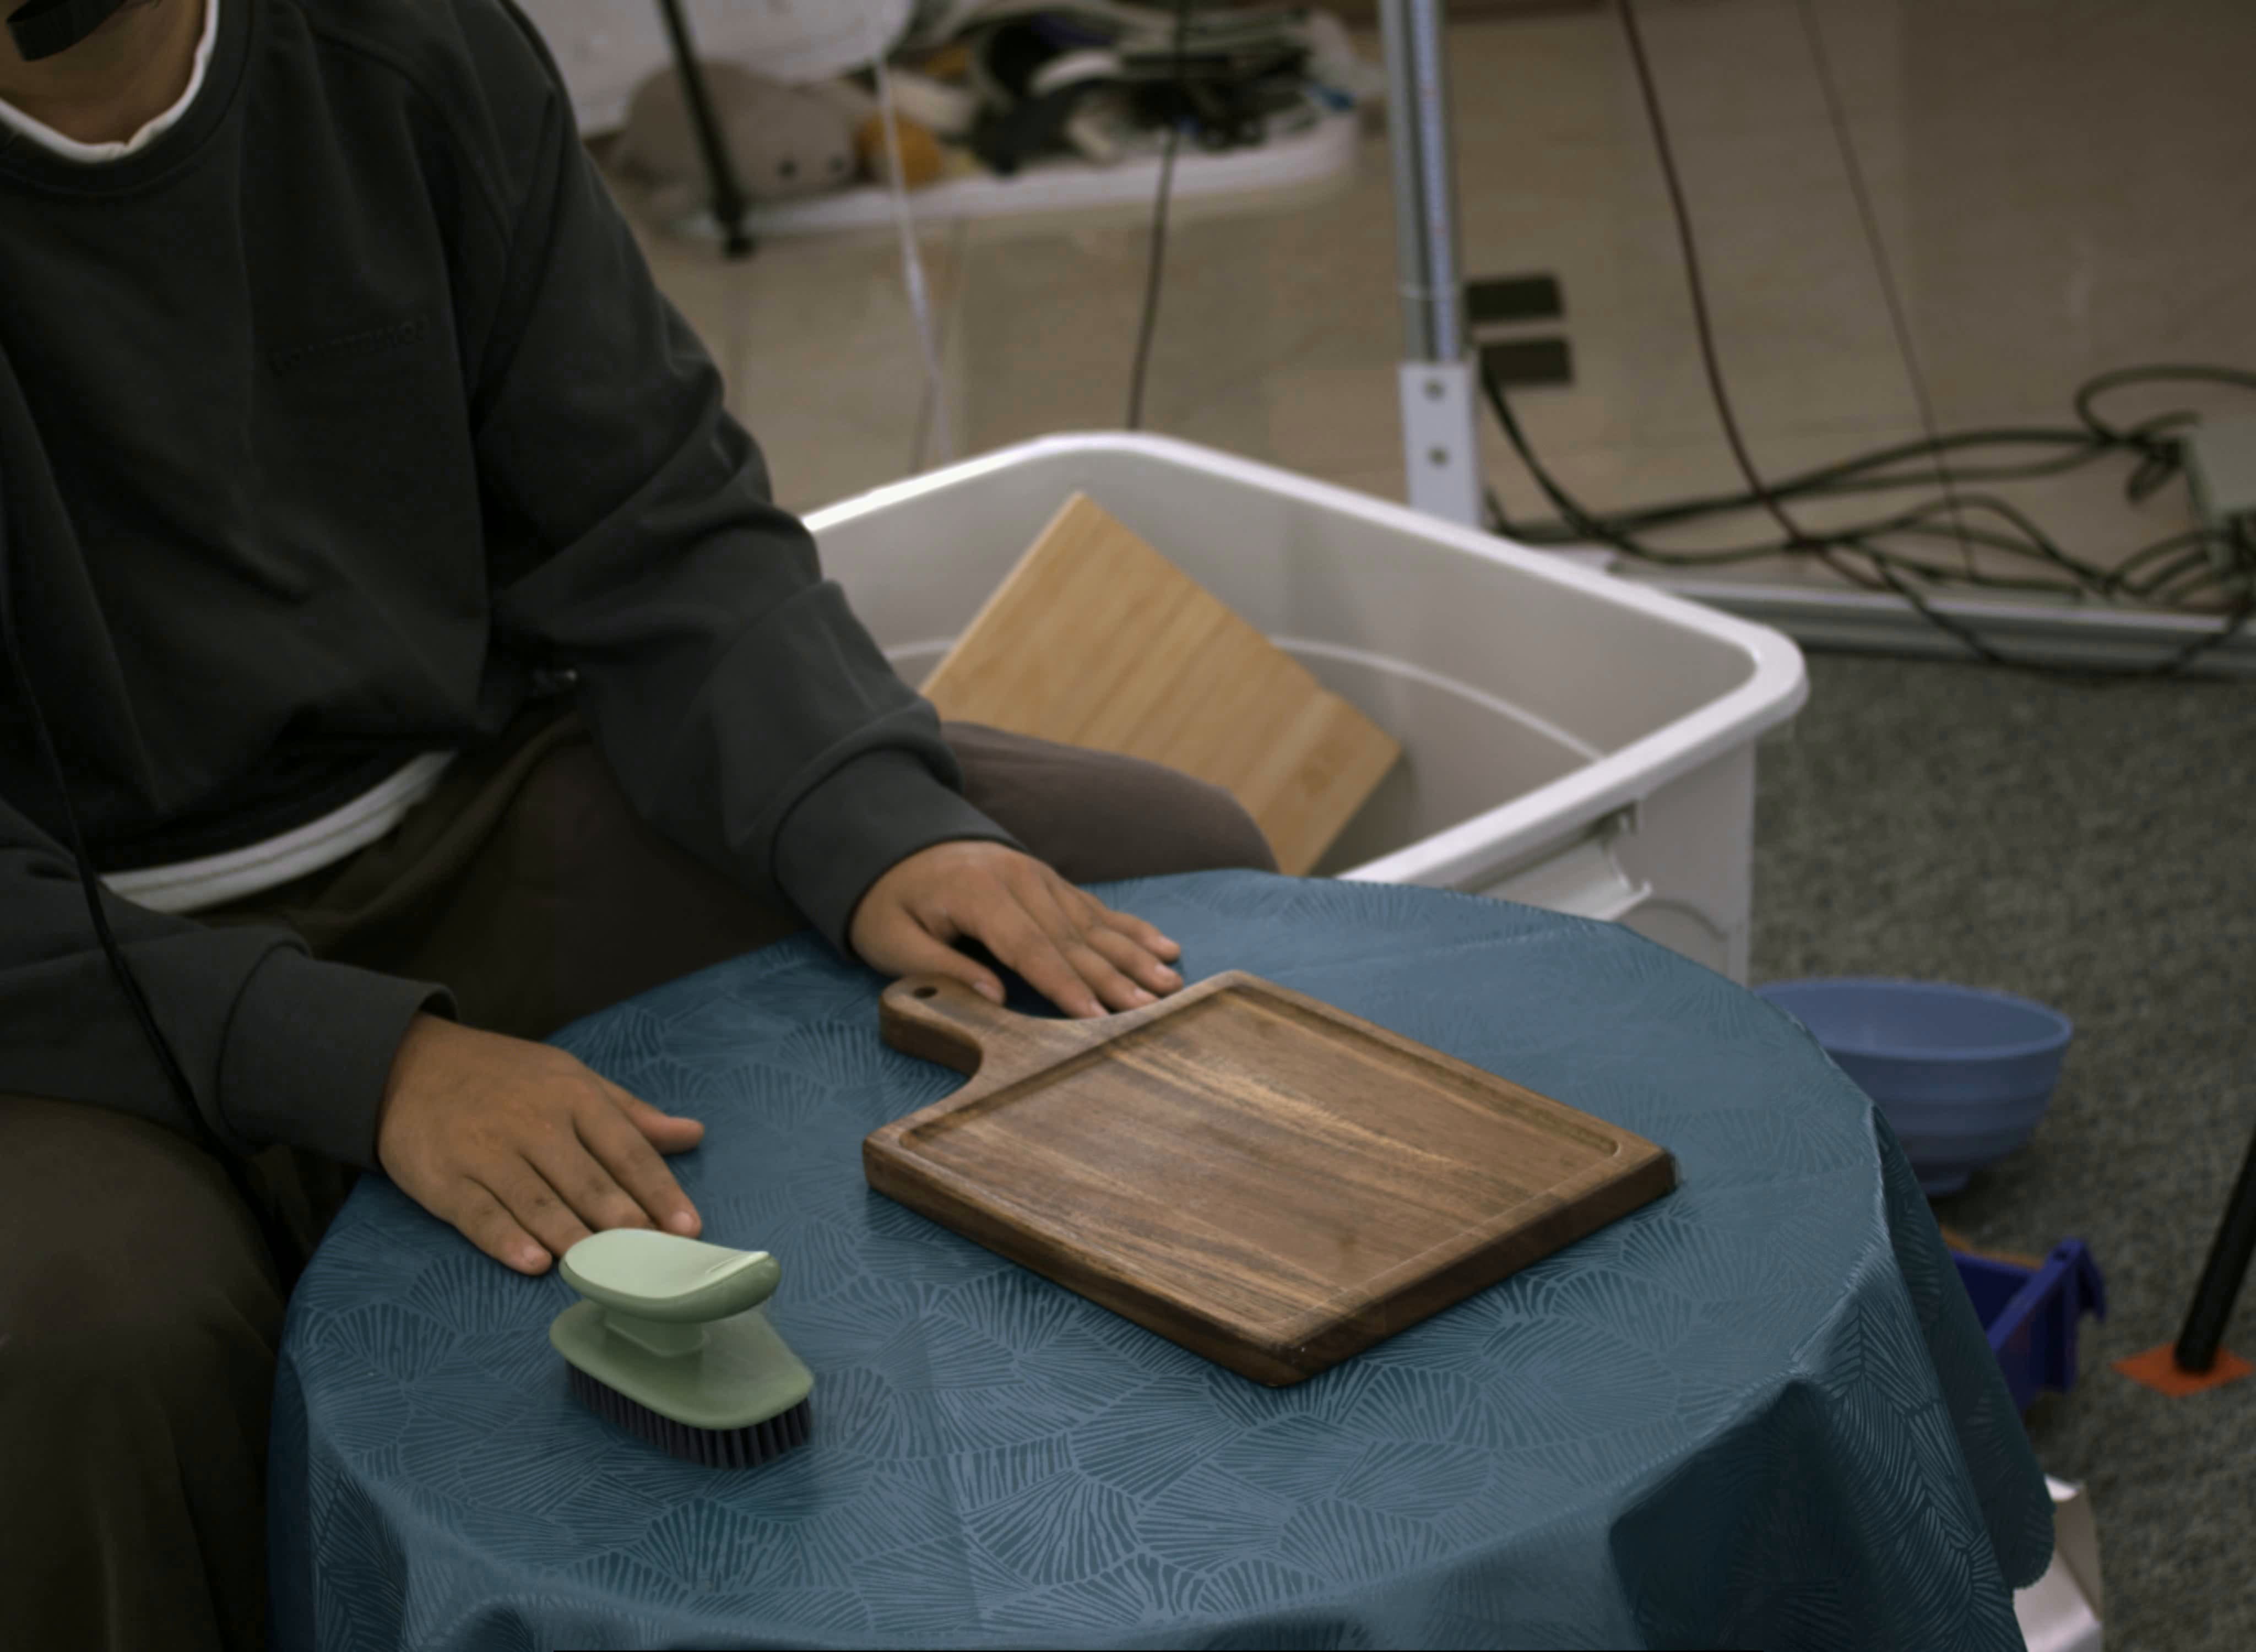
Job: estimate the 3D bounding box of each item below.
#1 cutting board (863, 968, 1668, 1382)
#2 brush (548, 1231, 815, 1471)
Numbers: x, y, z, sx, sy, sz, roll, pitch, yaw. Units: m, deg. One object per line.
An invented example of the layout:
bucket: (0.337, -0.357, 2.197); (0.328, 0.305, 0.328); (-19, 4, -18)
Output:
cutting board: (0.019, 0.114, 2.173); (0.199, 0.023, 0.349); (-23, 29, -33)
brush: (-0.159, 0.185, 2.024); (0.059, 0.076, 0.122); (-25, 17, -35)
